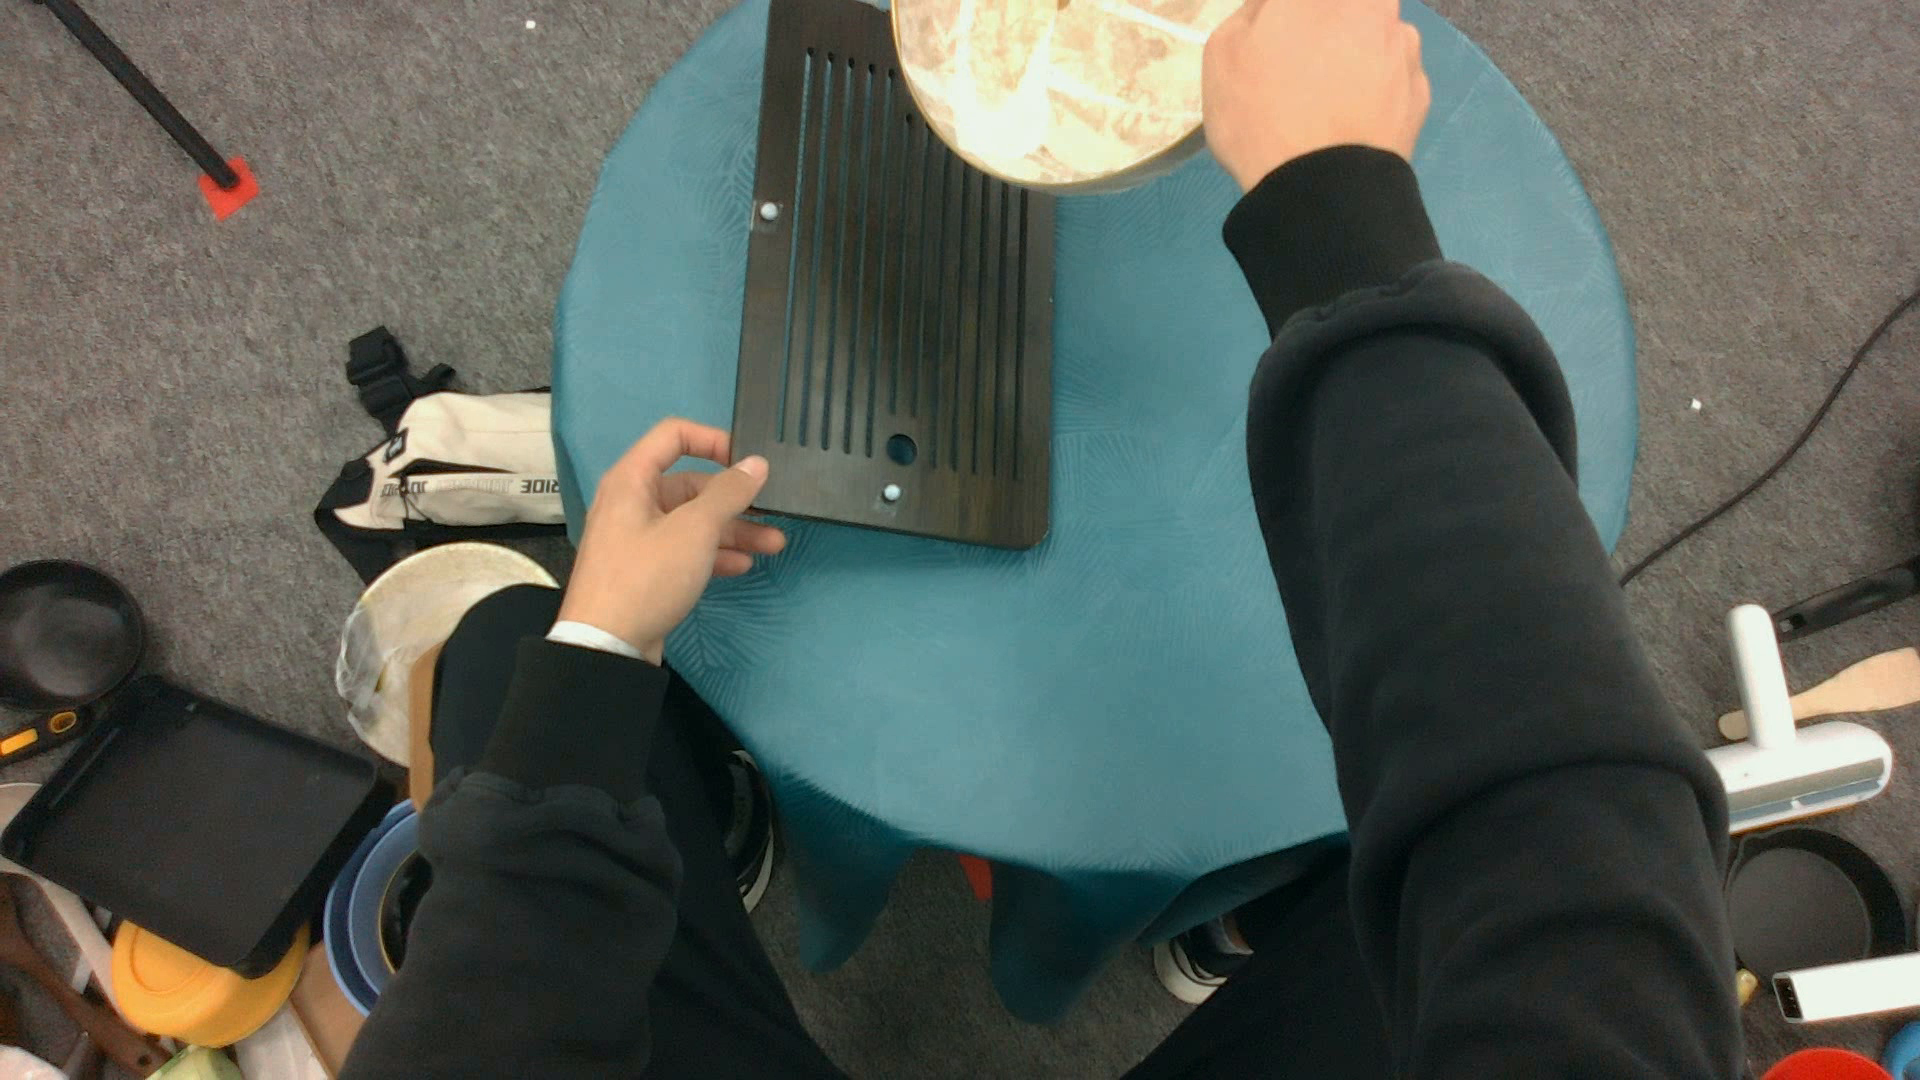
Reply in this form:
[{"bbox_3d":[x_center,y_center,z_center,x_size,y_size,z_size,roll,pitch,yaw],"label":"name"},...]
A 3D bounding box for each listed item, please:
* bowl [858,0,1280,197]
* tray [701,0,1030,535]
[{"bbox_3d":[0.063,-0.258,0.644,0.214,0.095,0.214,1,91,29],"label":"bowl"},{"bbox_3d":[-0.044,-0.156,0.739,0.170,0.018,0.307,8,71,-20],"label":"tray"}]
